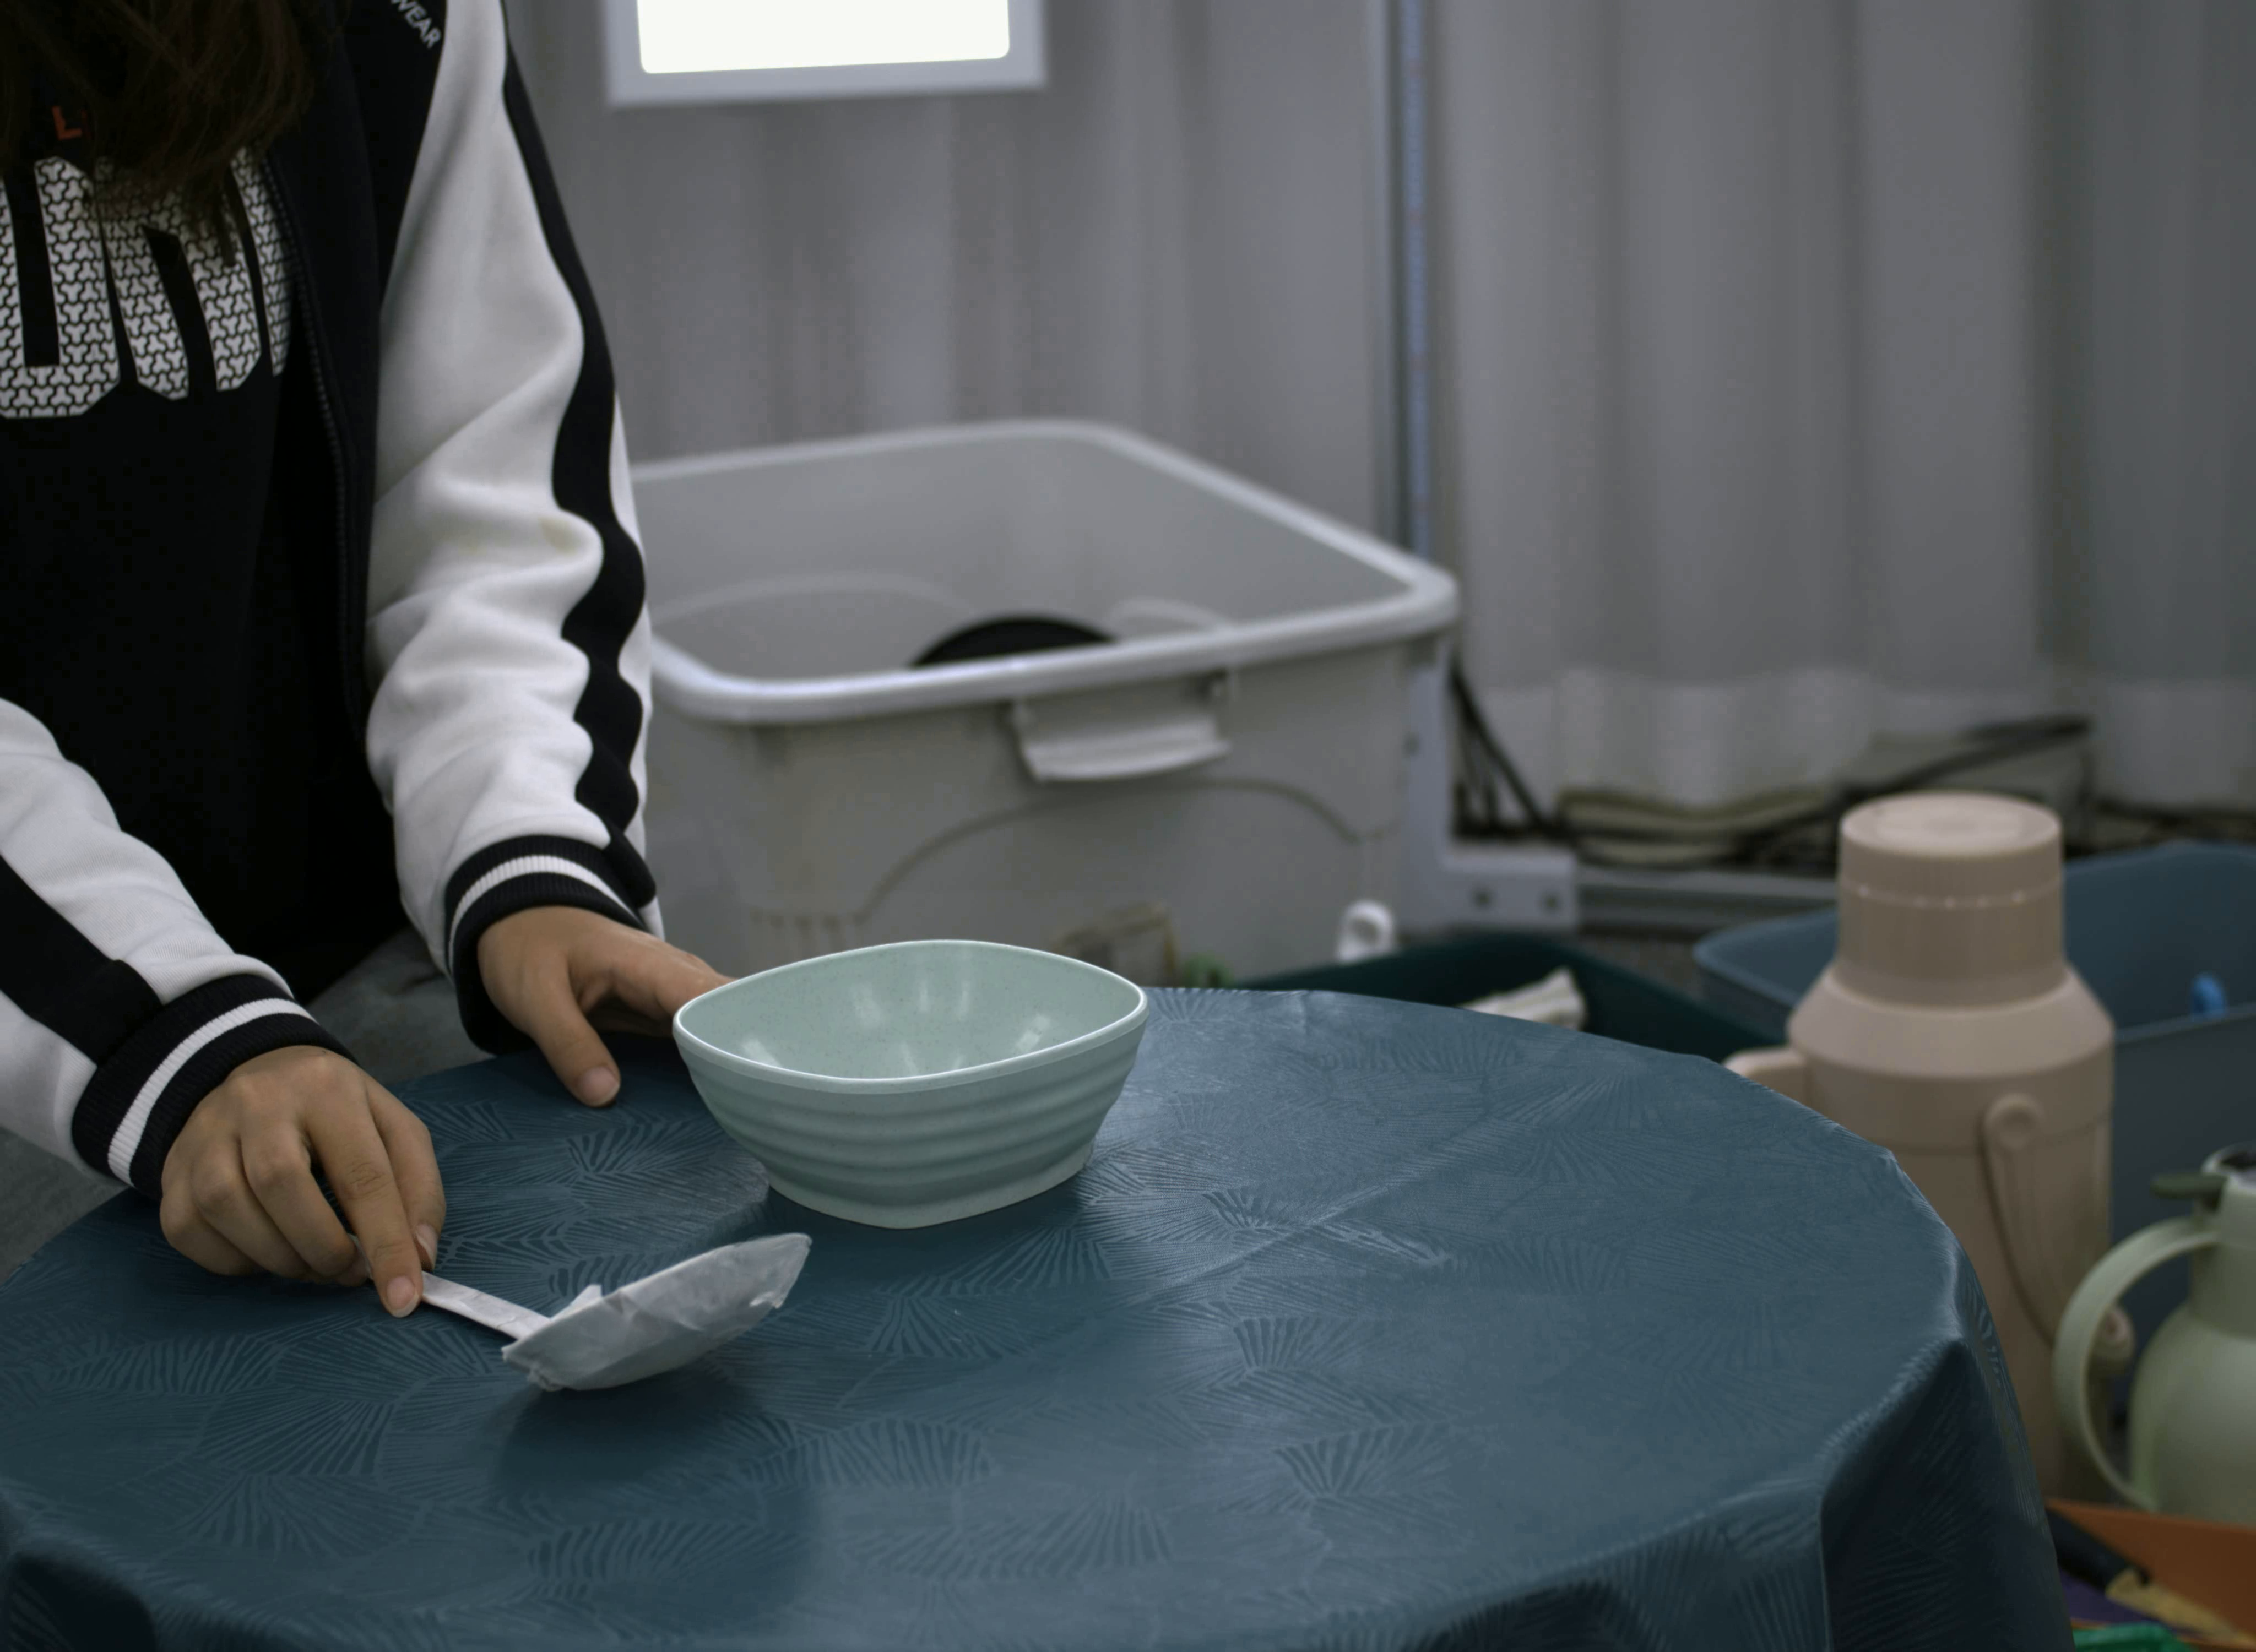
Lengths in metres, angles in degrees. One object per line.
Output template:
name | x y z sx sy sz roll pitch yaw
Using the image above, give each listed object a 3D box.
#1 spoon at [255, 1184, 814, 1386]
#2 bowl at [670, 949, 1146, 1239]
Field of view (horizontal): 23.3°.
spoon | -0.189 0.117 1.633 0.100 0.059 0.279 -7 14 -35
bowl | -0.068 0.088 1.731 0.151 0.058 0.152 -2 14 0
